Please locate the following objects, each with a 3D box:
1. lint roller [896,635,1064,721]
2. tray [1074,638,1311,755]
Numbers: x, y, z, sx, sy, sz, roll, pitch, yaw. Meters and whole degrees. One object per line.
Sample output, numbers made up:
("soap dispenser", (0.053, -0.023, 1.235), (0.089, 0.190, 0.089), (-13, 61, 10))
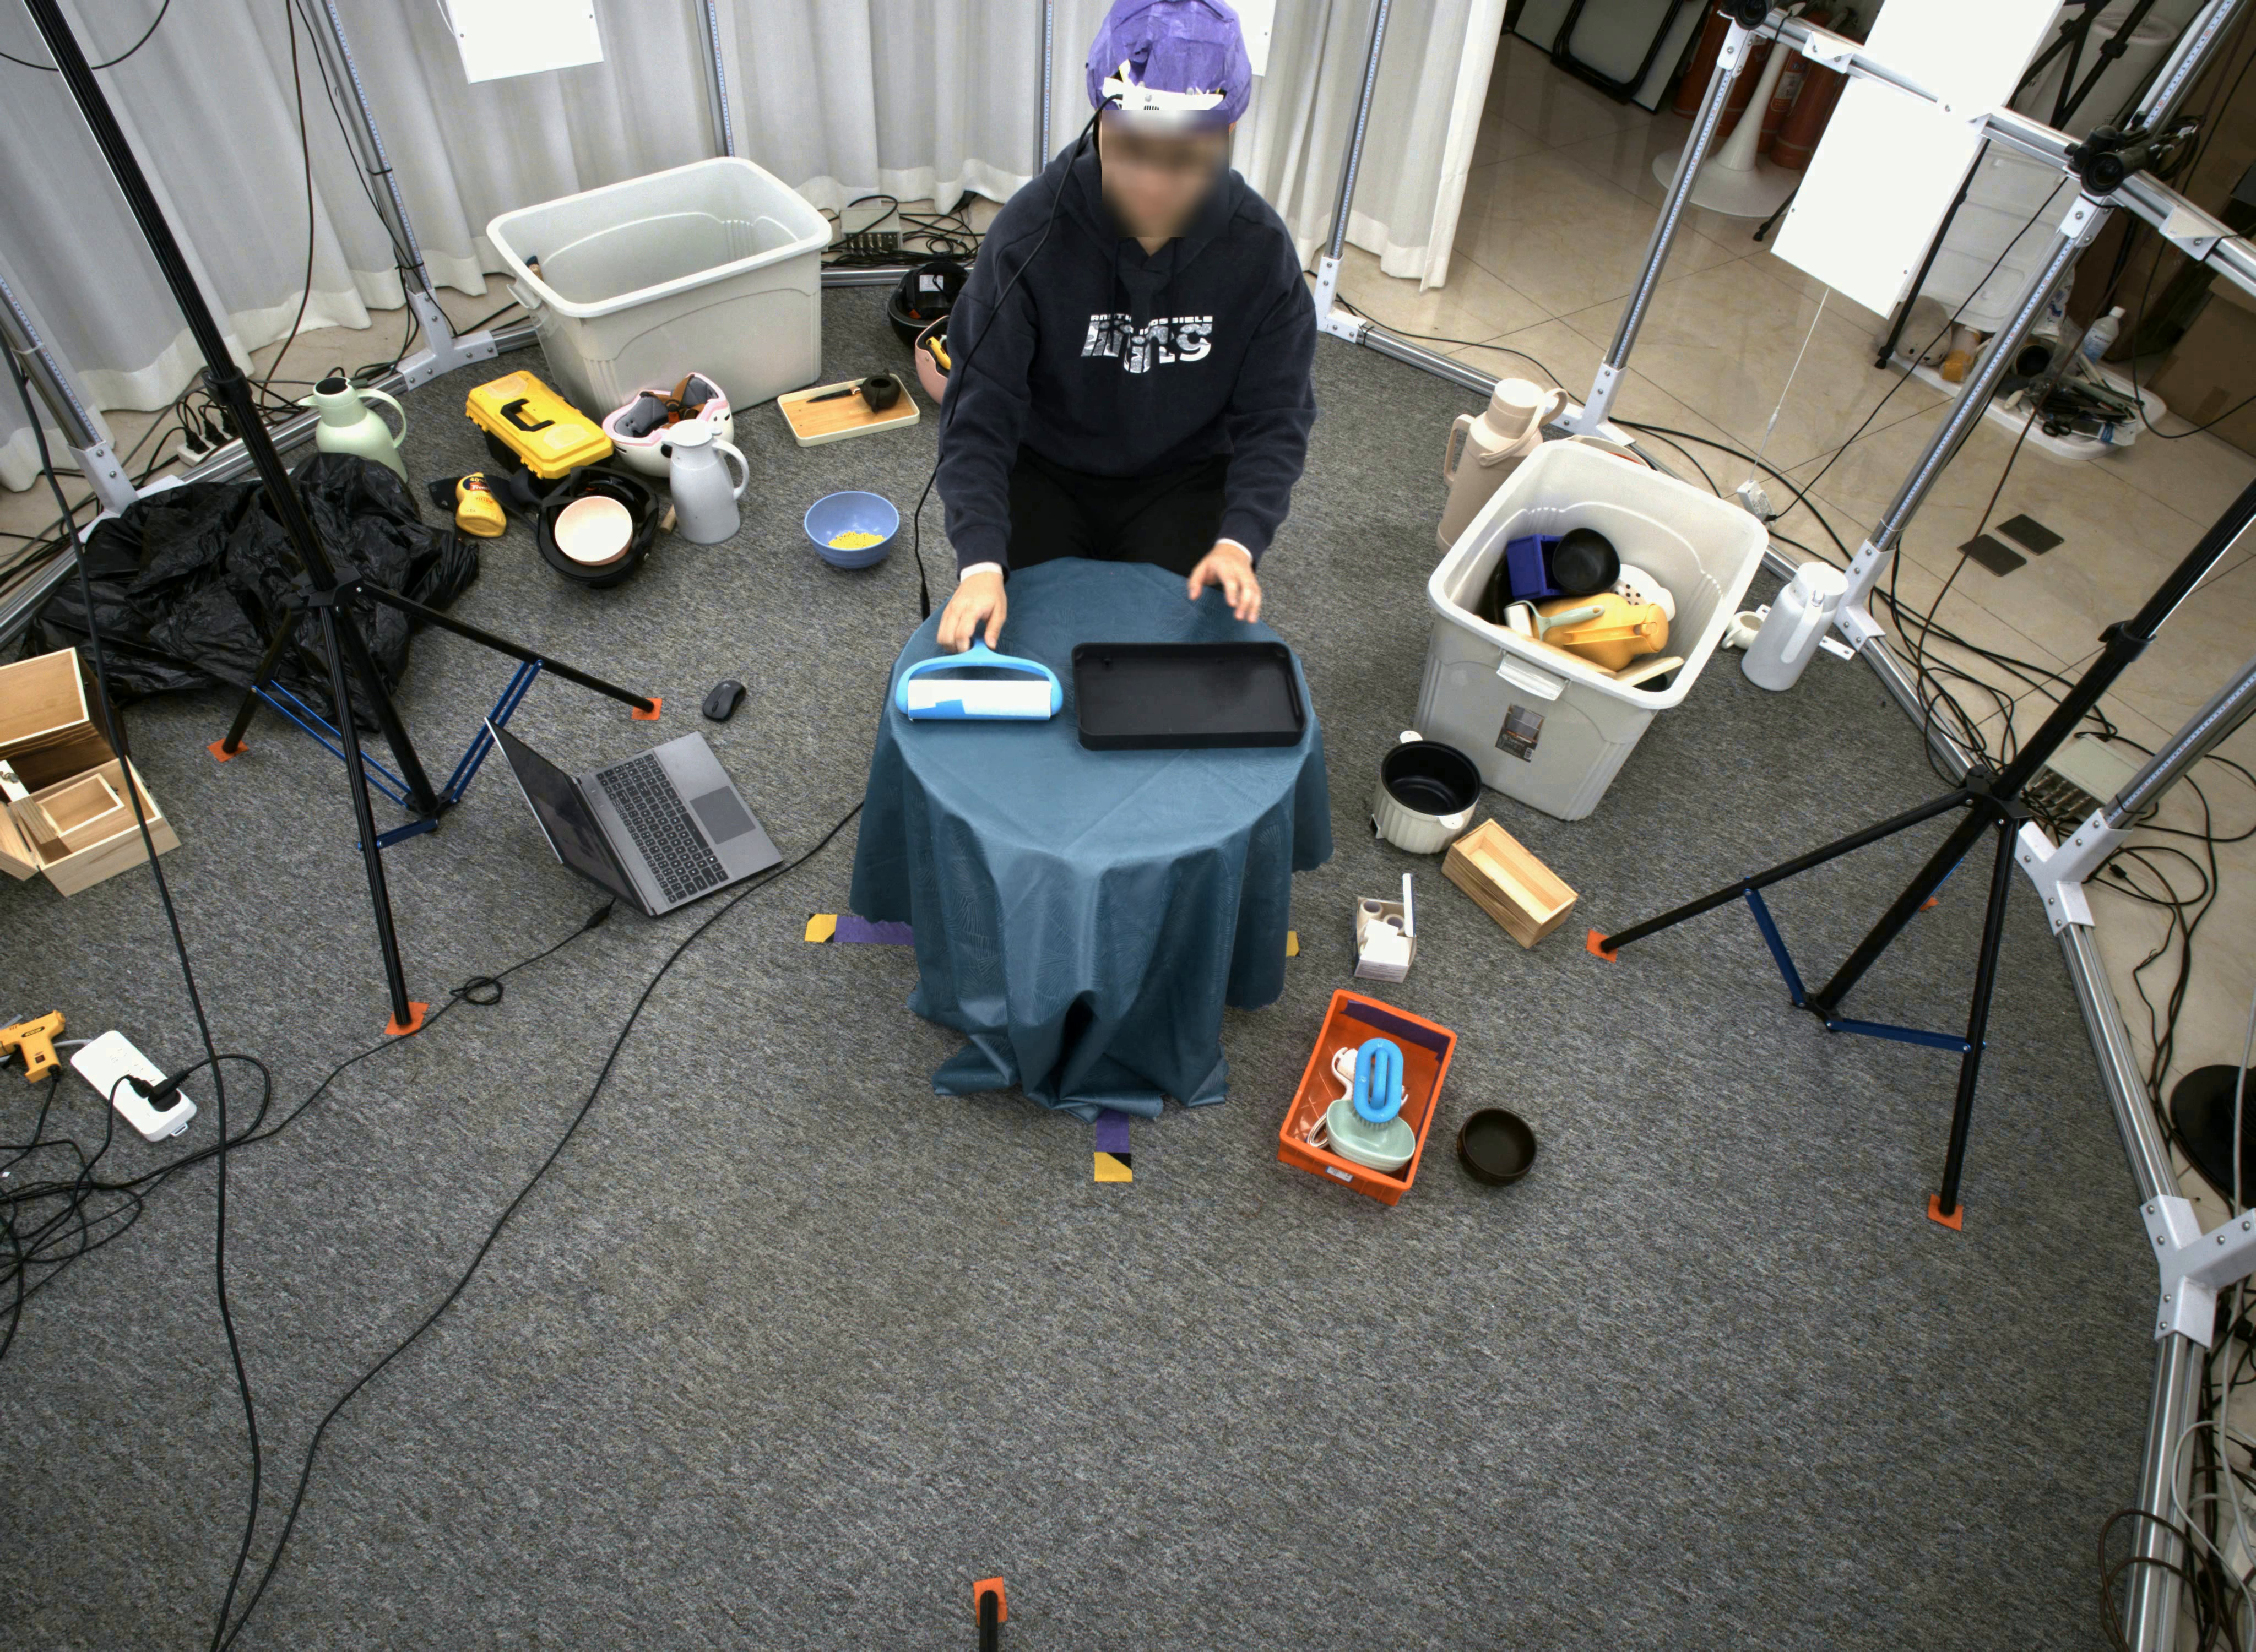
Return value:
("lint roller", (-0.207, -0.221, 1.803), (0.228, 0.066, 0.185), (-2, 51, -4))
("tray", (0.087, -0.185, 1.813), (0.317, 0.036, 0.189), (-4, 49, -4))
